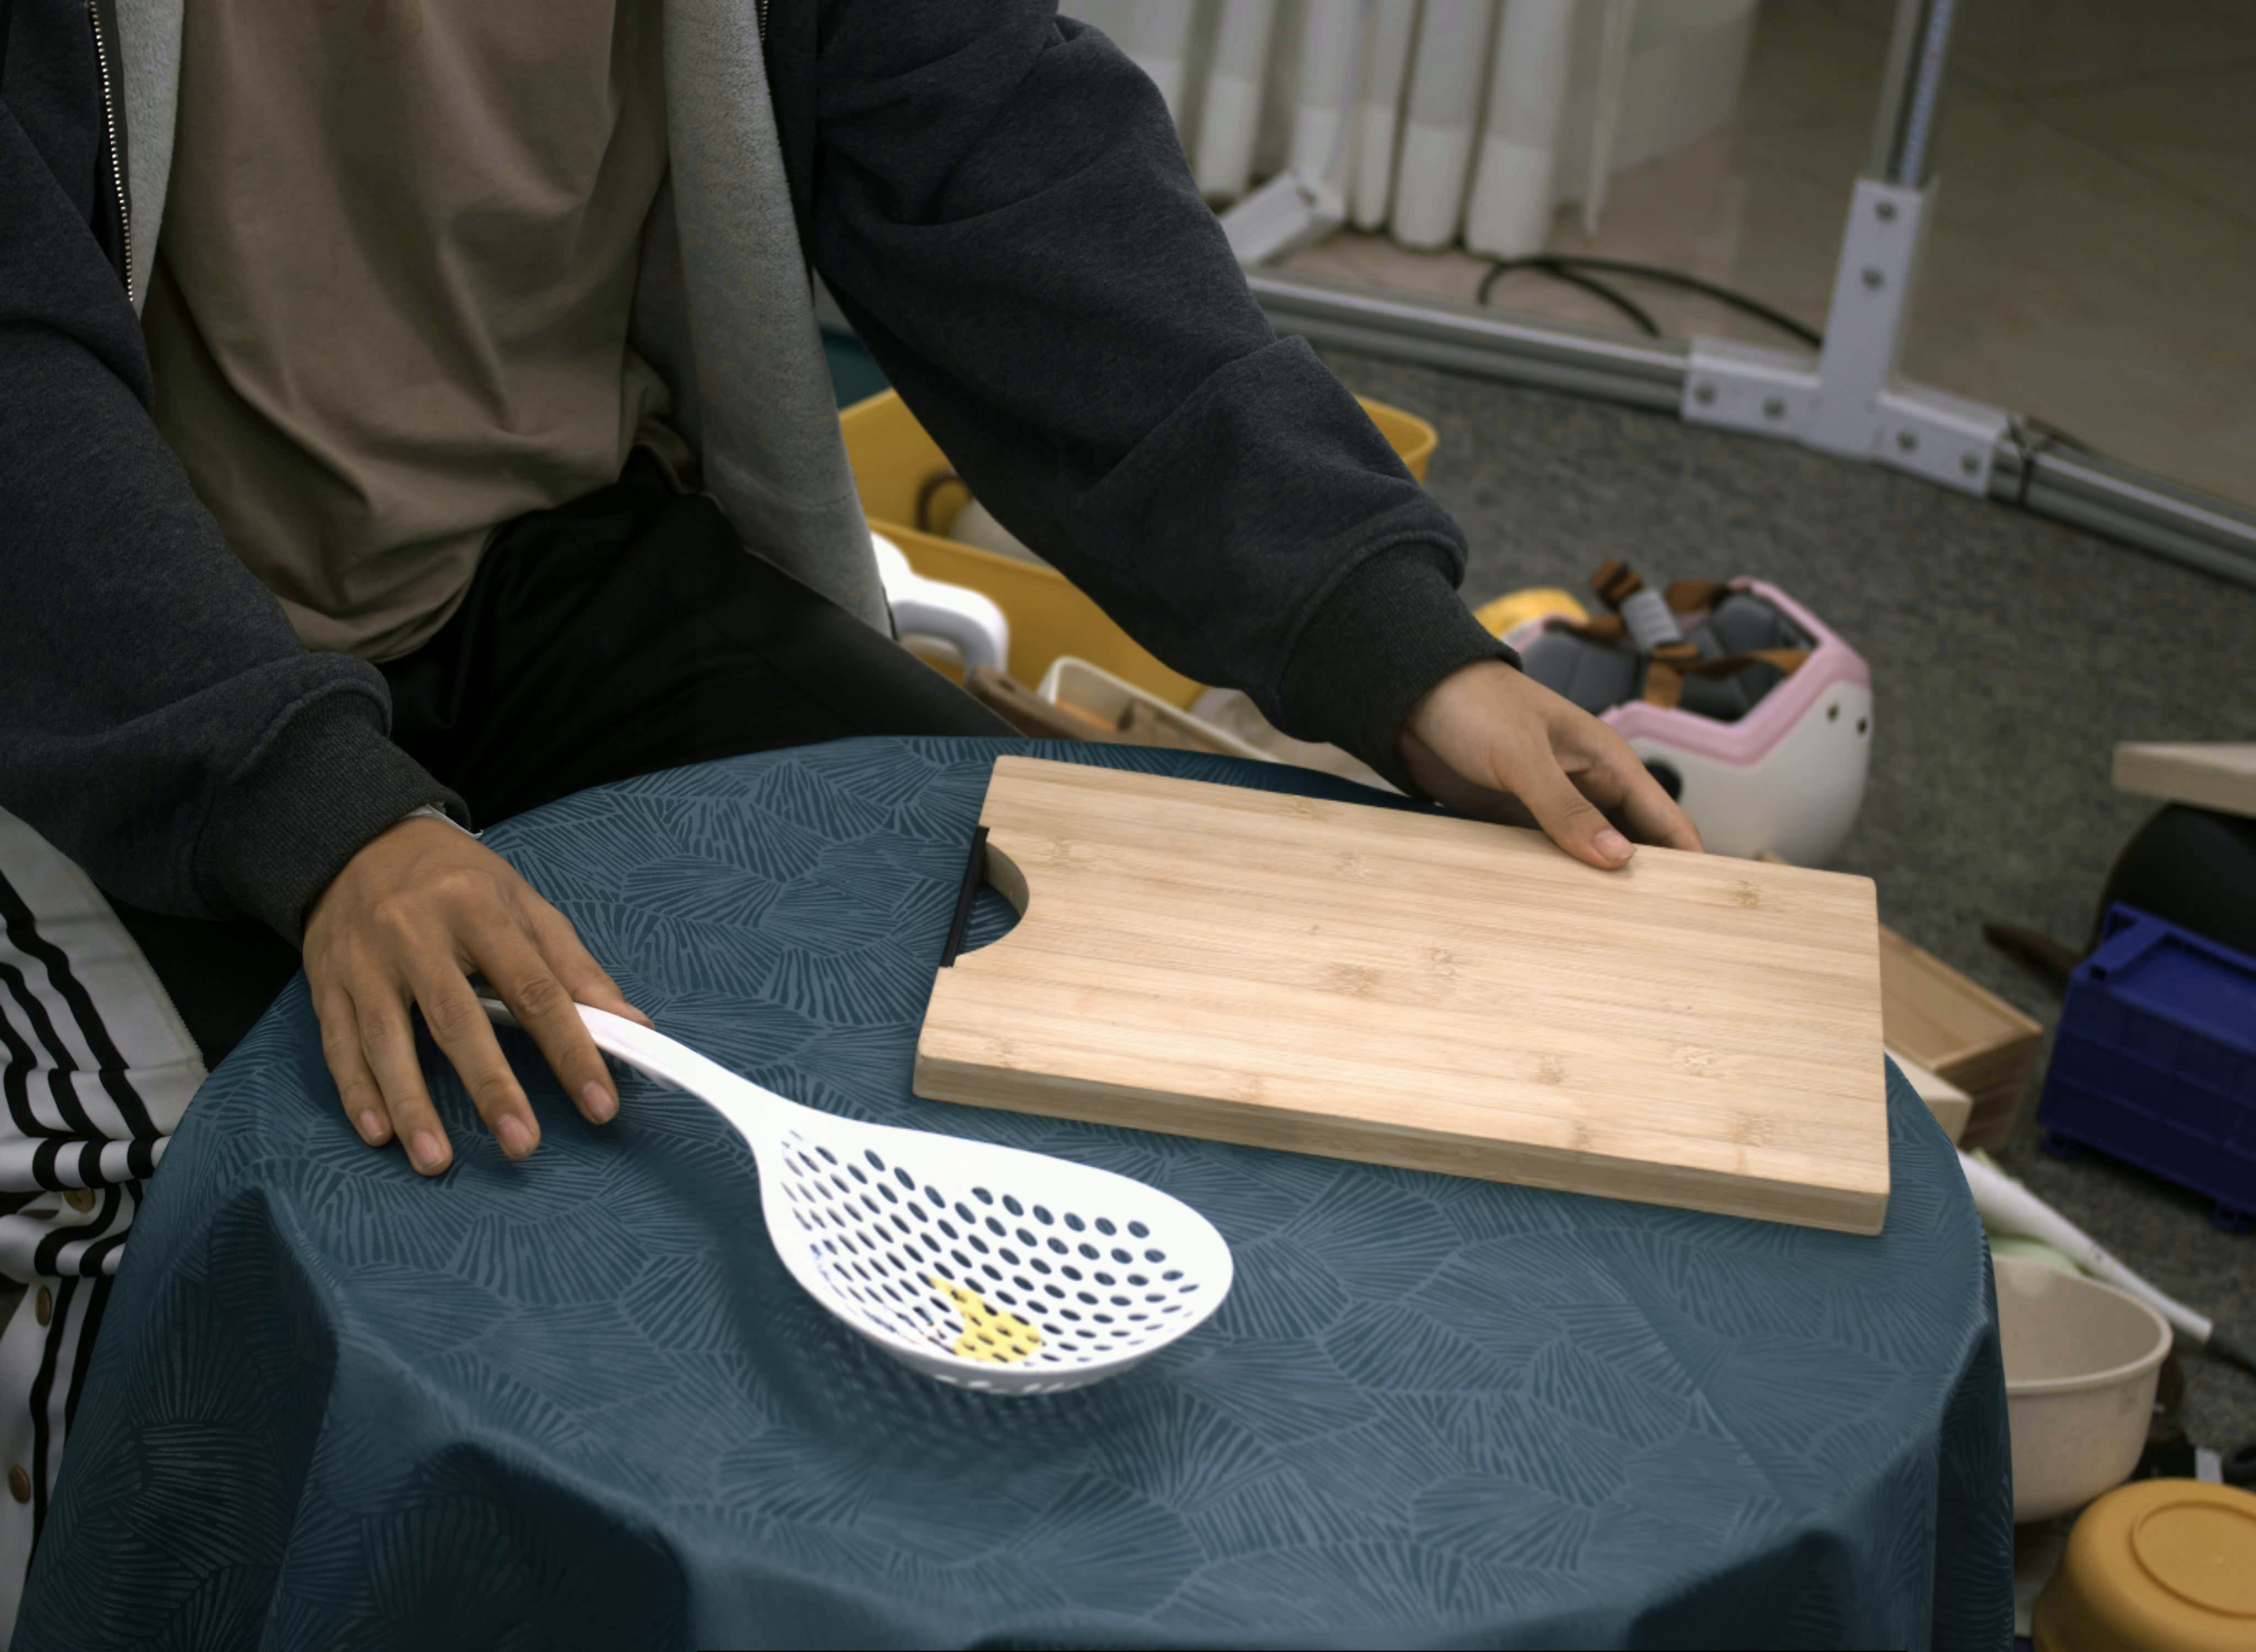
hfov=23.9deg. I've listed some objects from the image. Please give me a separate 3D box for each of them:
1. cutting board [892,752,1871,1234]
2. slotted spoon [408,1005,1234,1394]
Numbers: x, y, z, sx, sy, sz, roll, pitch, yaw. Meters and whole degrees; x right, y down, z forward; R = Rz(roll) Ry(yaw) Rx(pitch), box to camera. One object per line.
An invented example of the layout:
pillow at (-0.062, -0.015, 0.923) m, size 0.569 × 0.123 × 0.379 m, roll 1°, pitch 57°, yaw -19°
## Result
cutting board at (0.100, 0.057, 1.937) m, size 0.348 × 0.023 × 0.252 m, roll 8°, pitch 27°, yaw 2°
slotted spoon at (-0.116, 0.110, 1.758) m, size 0.350 × 0.050 × 0.136 m, roll 28°, pitch 36°, yaw 36°
